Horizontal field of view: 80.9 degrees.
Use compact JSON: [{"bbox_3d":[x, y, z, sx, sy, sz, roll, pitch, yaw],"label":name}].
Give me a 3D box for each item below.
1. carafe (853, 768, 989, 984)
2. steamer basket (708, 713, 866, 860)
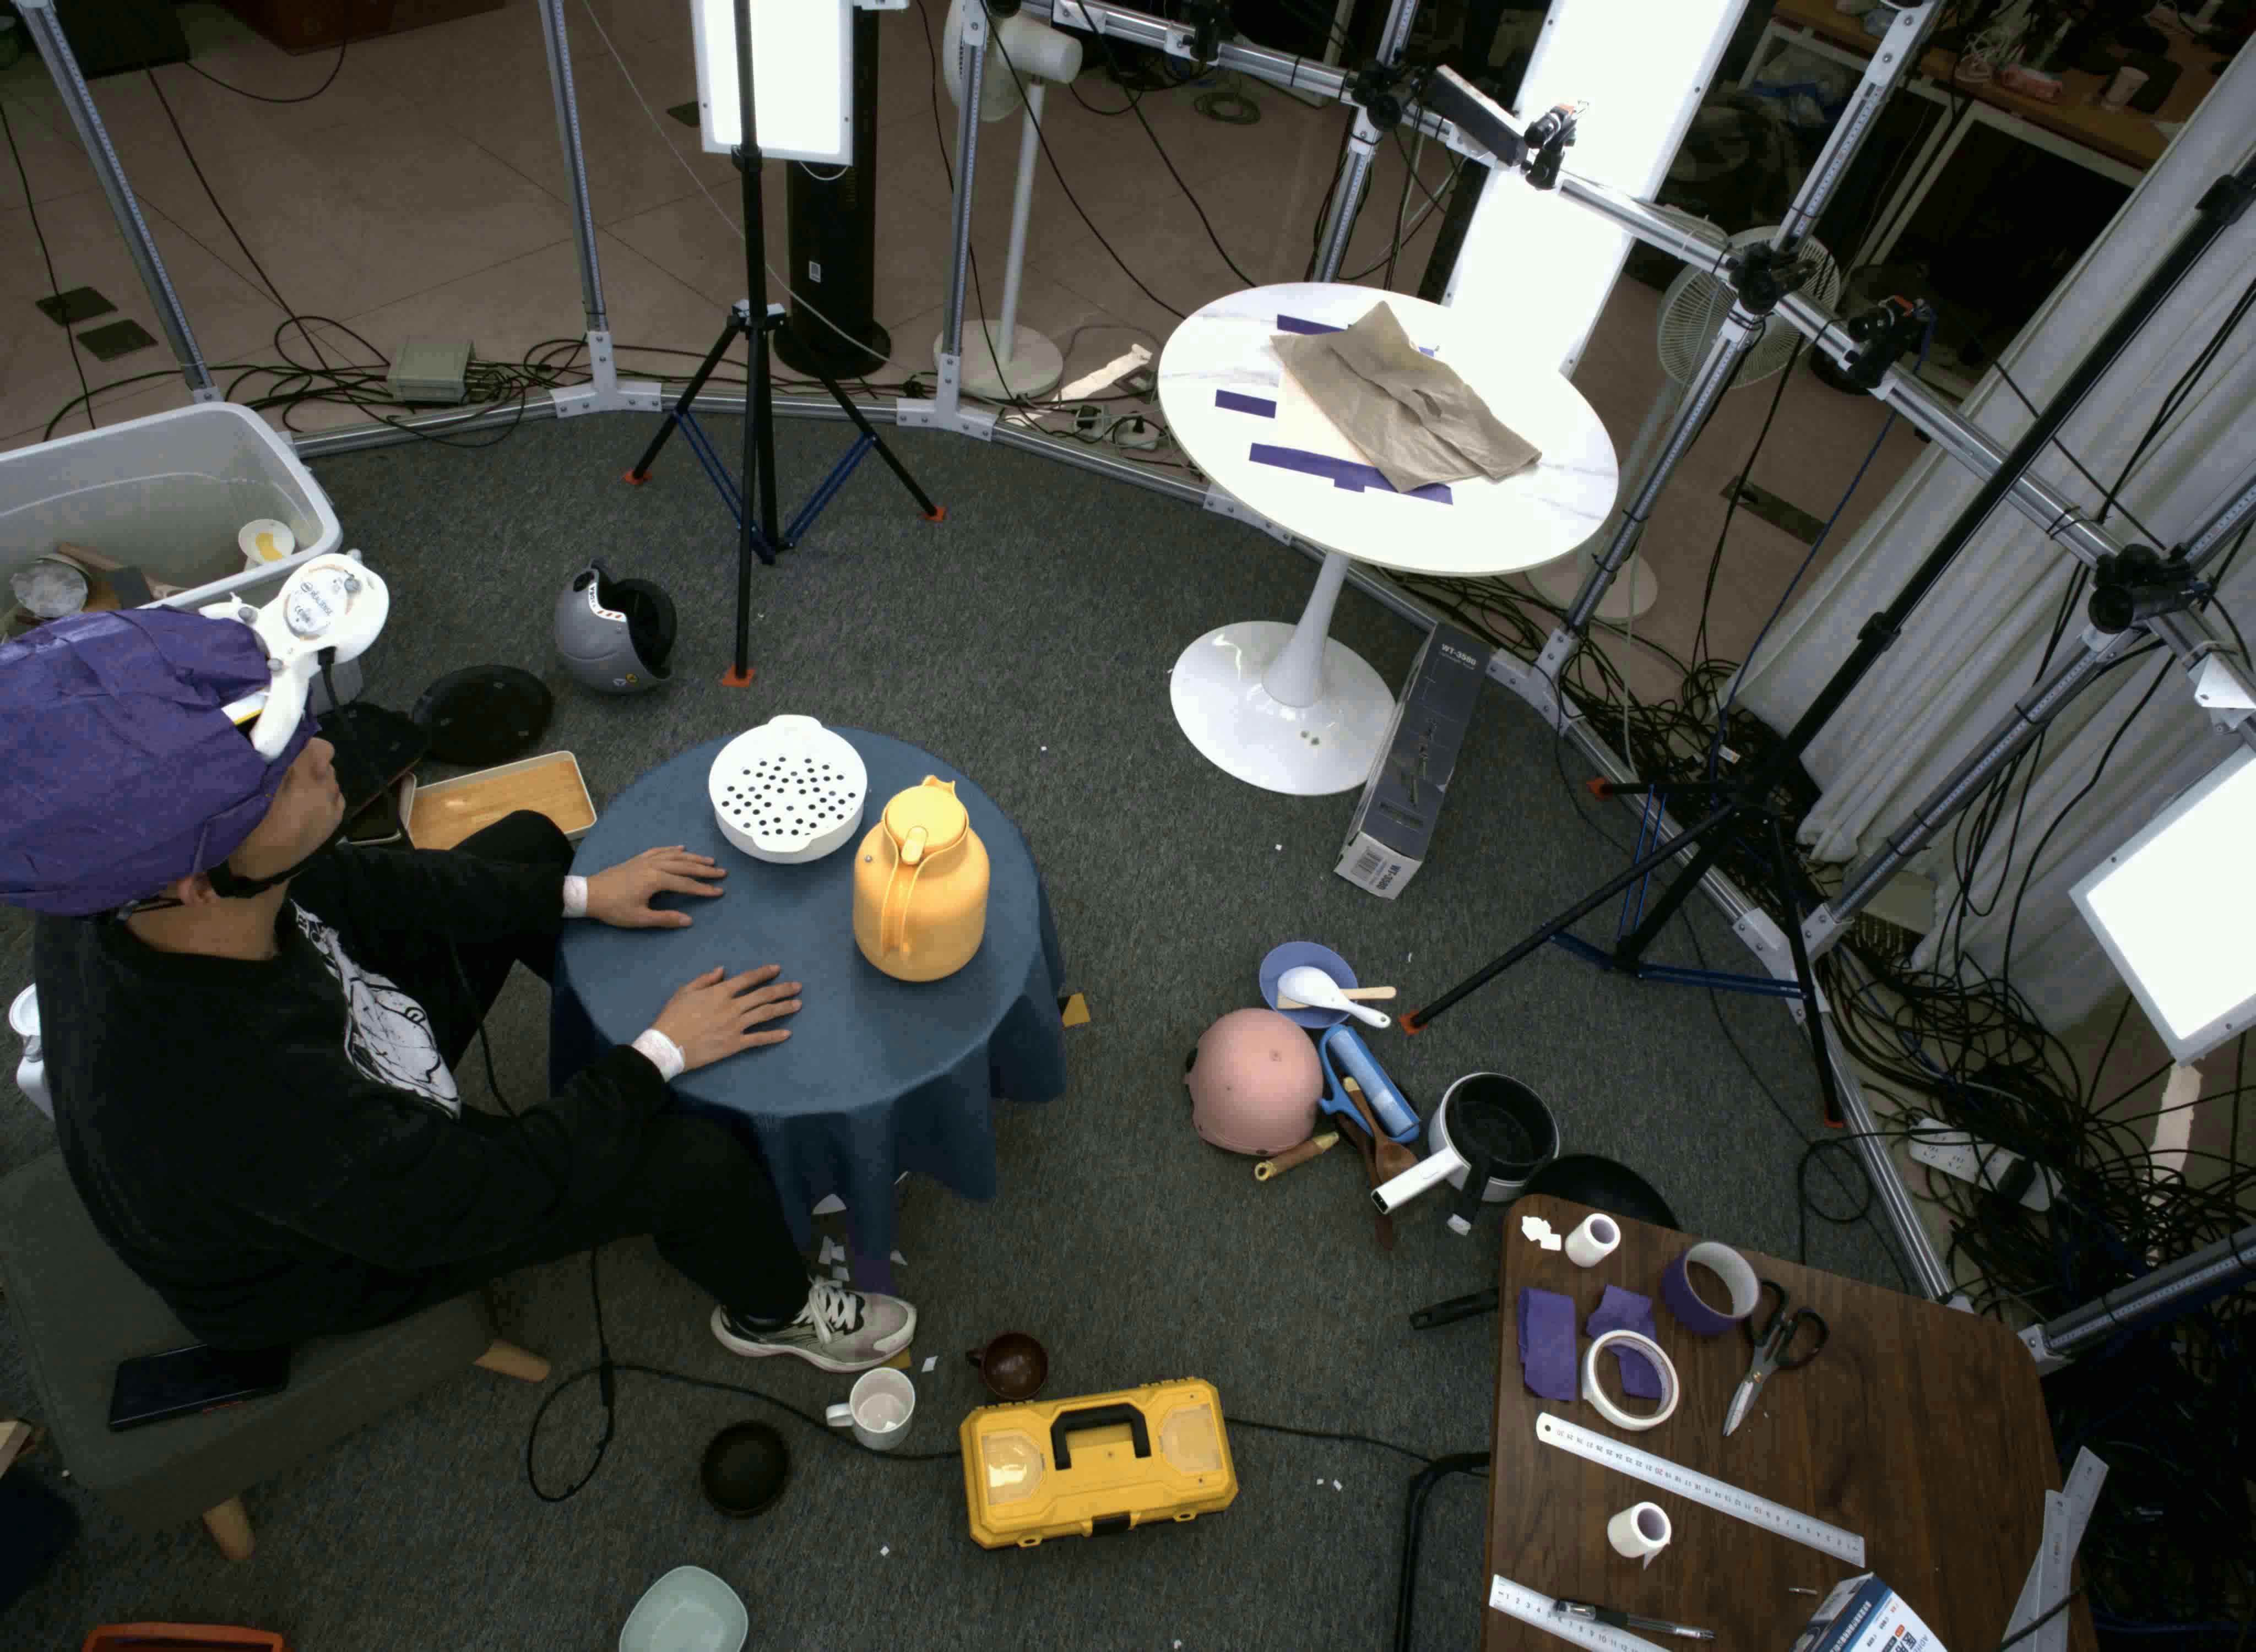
[{"bbox_3d":[-0.253,0.072,1.541,0.161,0.267,0.200,15,49,3],"label":"carafe"},{"bbox_3d":[-0.446,-0.047,1.707,0.202,0.071,0.225,2,51,-11],"label":"steamer basket"}]
